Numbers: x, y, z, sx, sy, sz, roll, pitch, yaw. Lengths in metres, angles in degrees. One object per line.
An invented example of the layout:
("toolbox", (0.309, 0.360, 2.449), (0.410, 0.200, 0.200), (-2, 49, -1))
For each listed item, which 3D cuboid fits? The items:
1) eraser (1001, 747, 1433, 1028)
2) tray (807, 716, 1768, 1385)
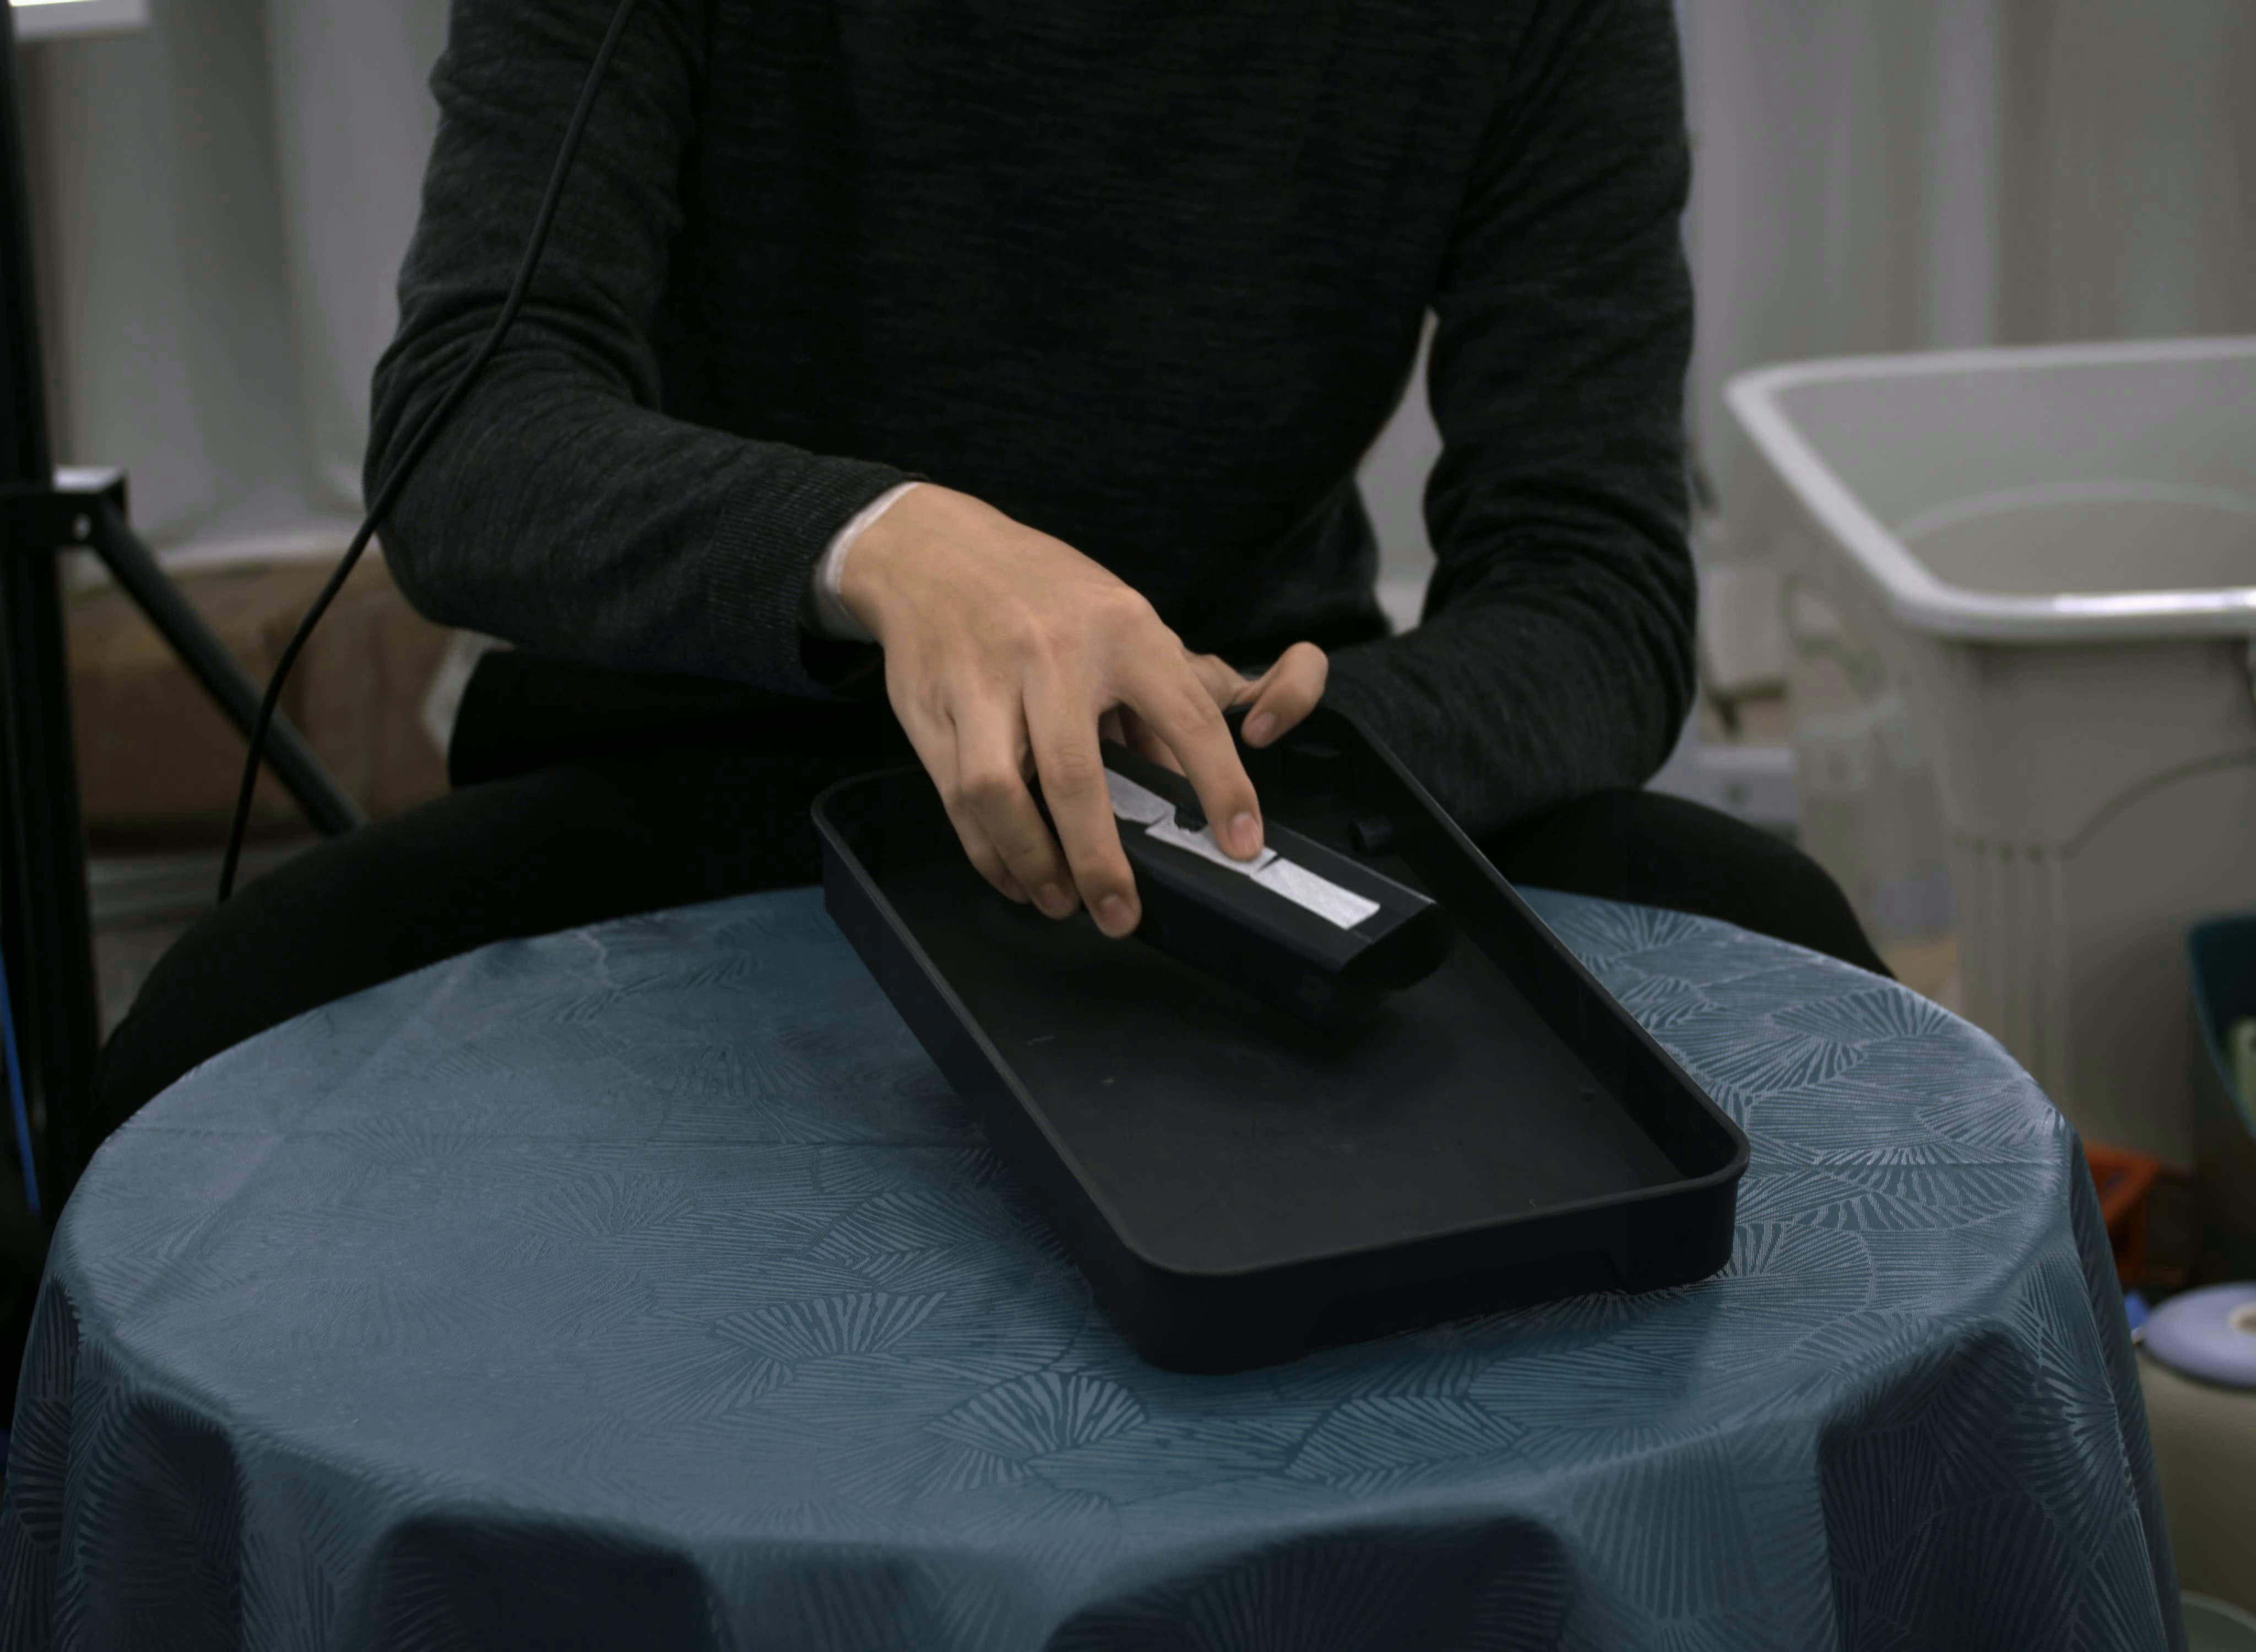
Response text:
("eraser", (0.026, 0.017, 1.587), (0.128, 0.030, 0.052), (25, 34, 27))
("tray", (0.038, 0.058, 1.555), (0.181, 0.037, 0.324), (-11, 28, -19))
